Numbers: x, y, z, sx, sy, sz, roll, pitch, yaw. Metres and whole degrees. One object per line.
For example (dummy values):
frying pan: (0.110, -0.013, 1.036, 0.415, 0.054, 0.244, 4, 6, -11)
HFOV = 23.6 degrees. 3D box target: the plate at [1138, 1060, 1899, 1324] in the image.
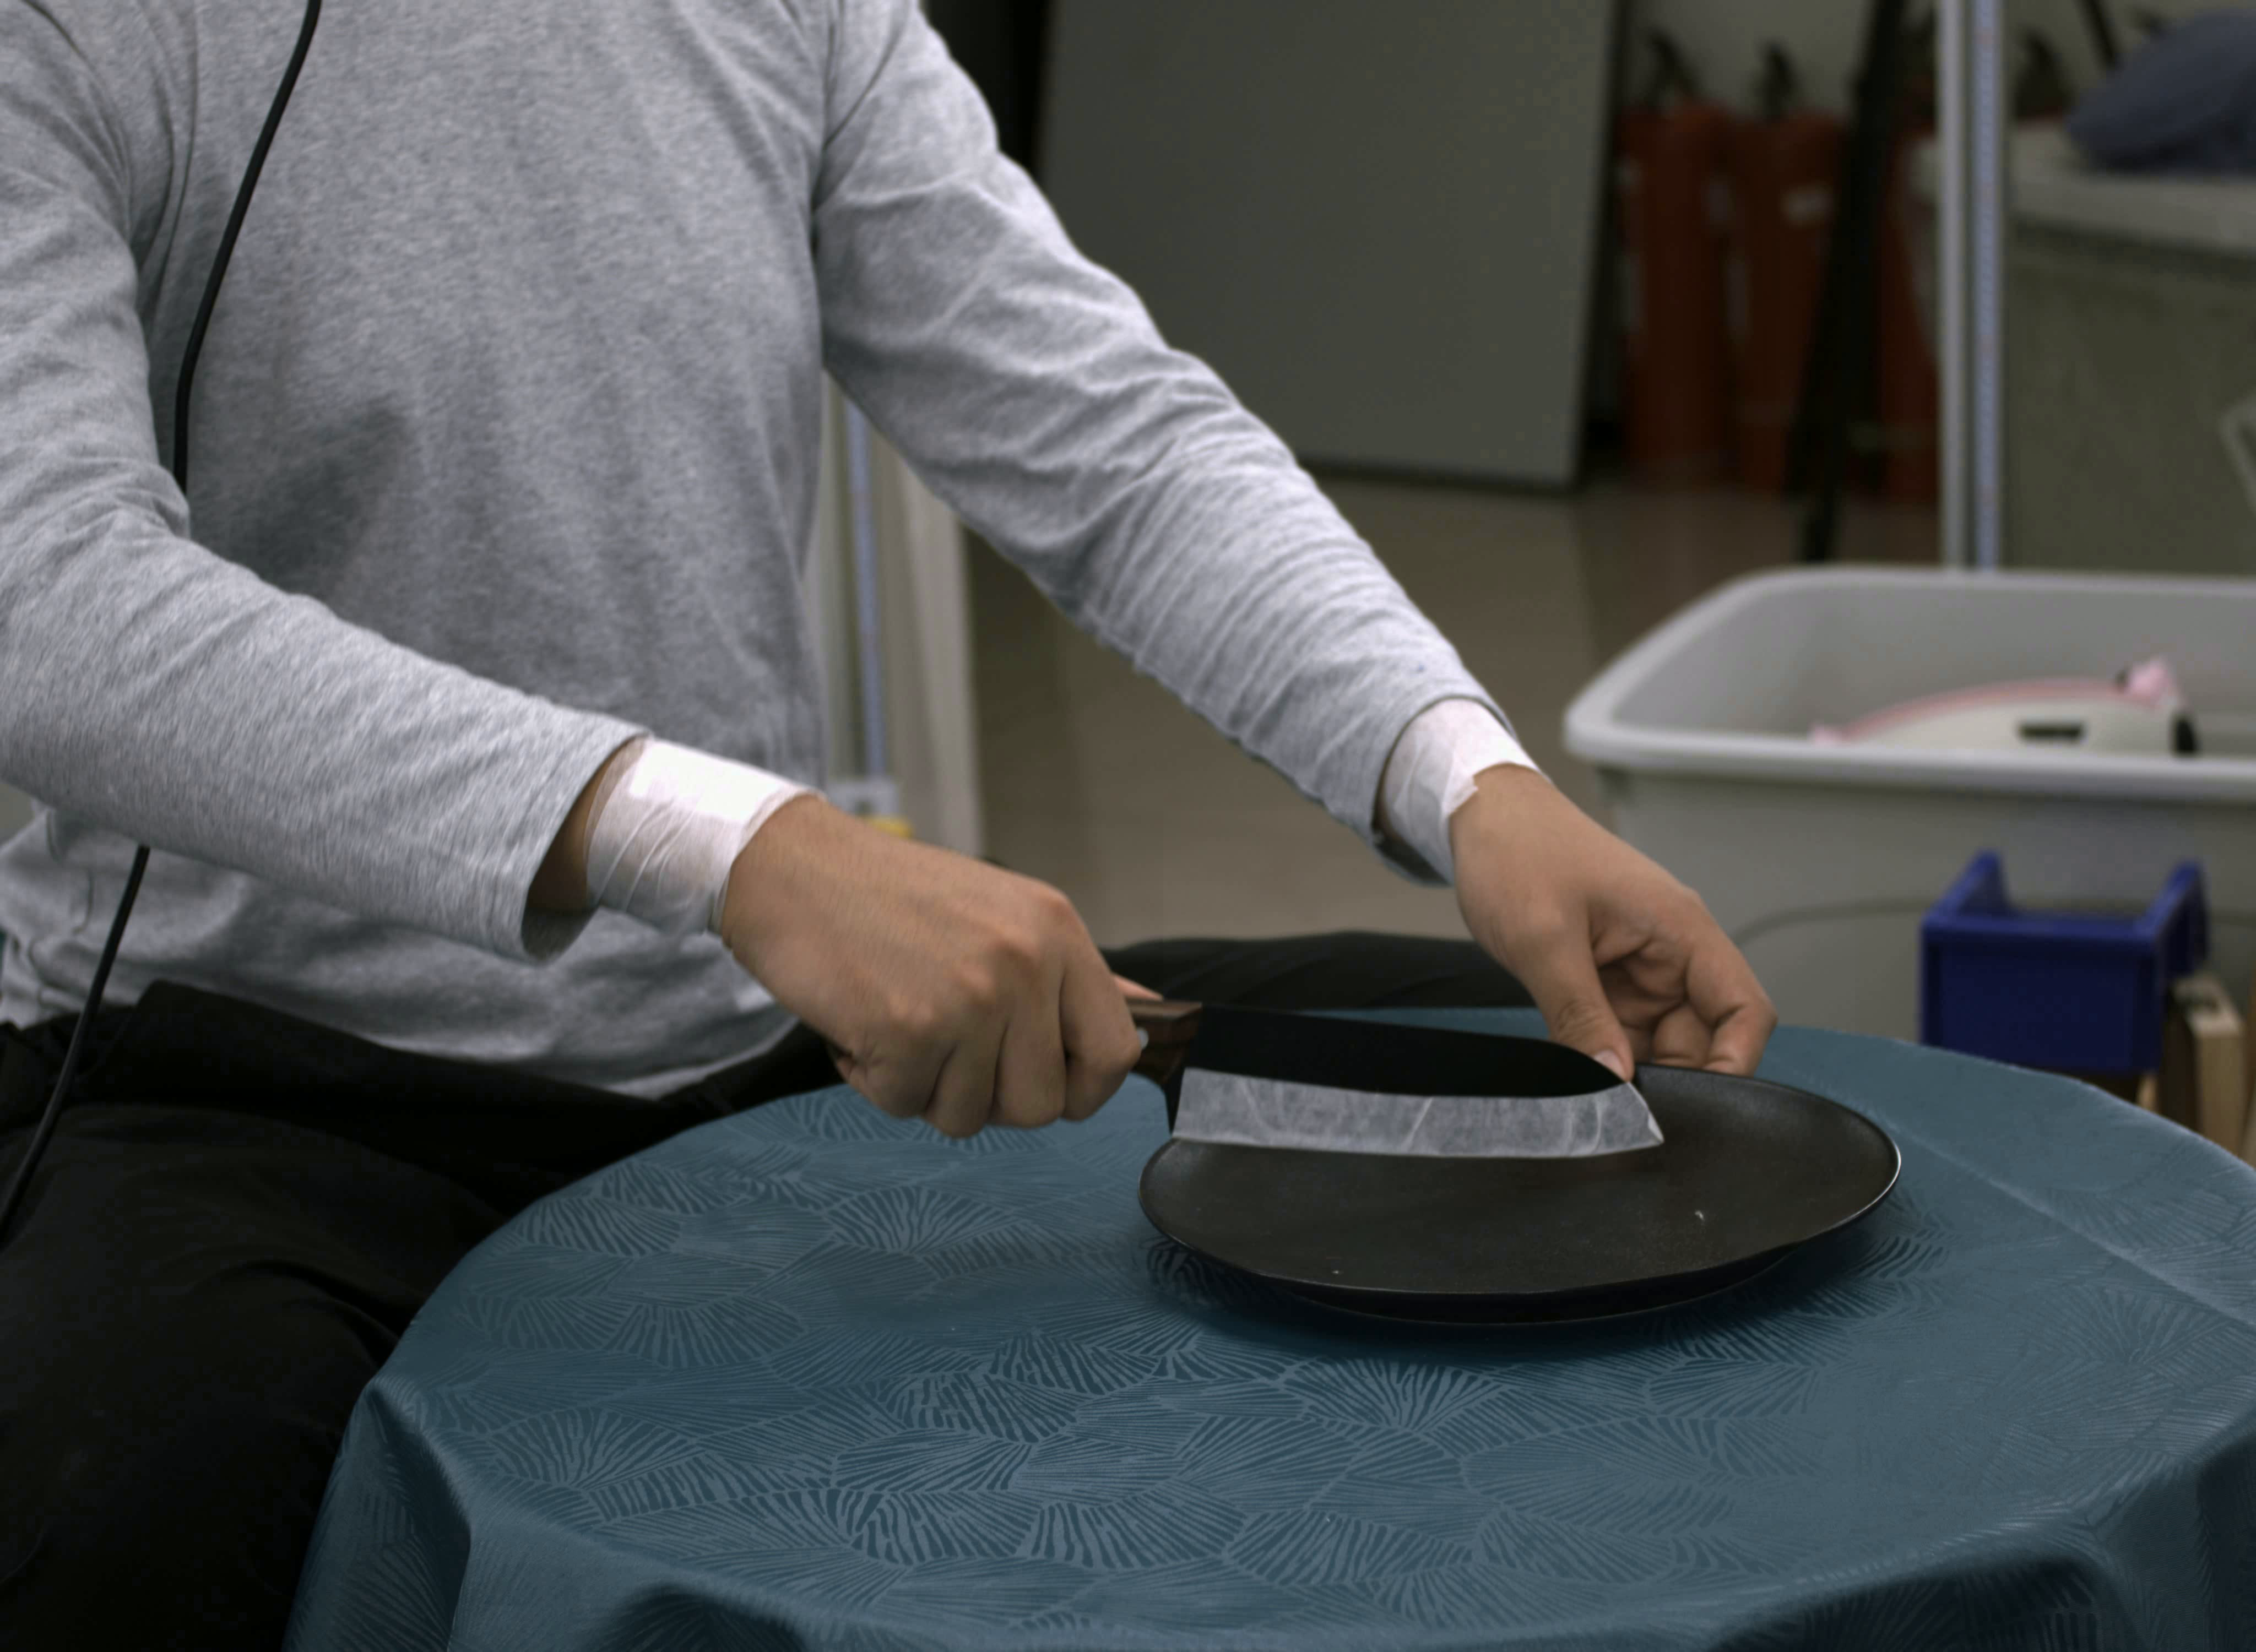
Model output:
plate: (0.123, 0.118, 1.704, 0.241, 0.024, 0.245, -4, 13, 0)

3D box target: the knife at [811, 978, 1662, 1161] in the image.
knife: (0.037, 0.078, 1.704, 0.283, 0.051, 0.020, 8, 8, -14)
